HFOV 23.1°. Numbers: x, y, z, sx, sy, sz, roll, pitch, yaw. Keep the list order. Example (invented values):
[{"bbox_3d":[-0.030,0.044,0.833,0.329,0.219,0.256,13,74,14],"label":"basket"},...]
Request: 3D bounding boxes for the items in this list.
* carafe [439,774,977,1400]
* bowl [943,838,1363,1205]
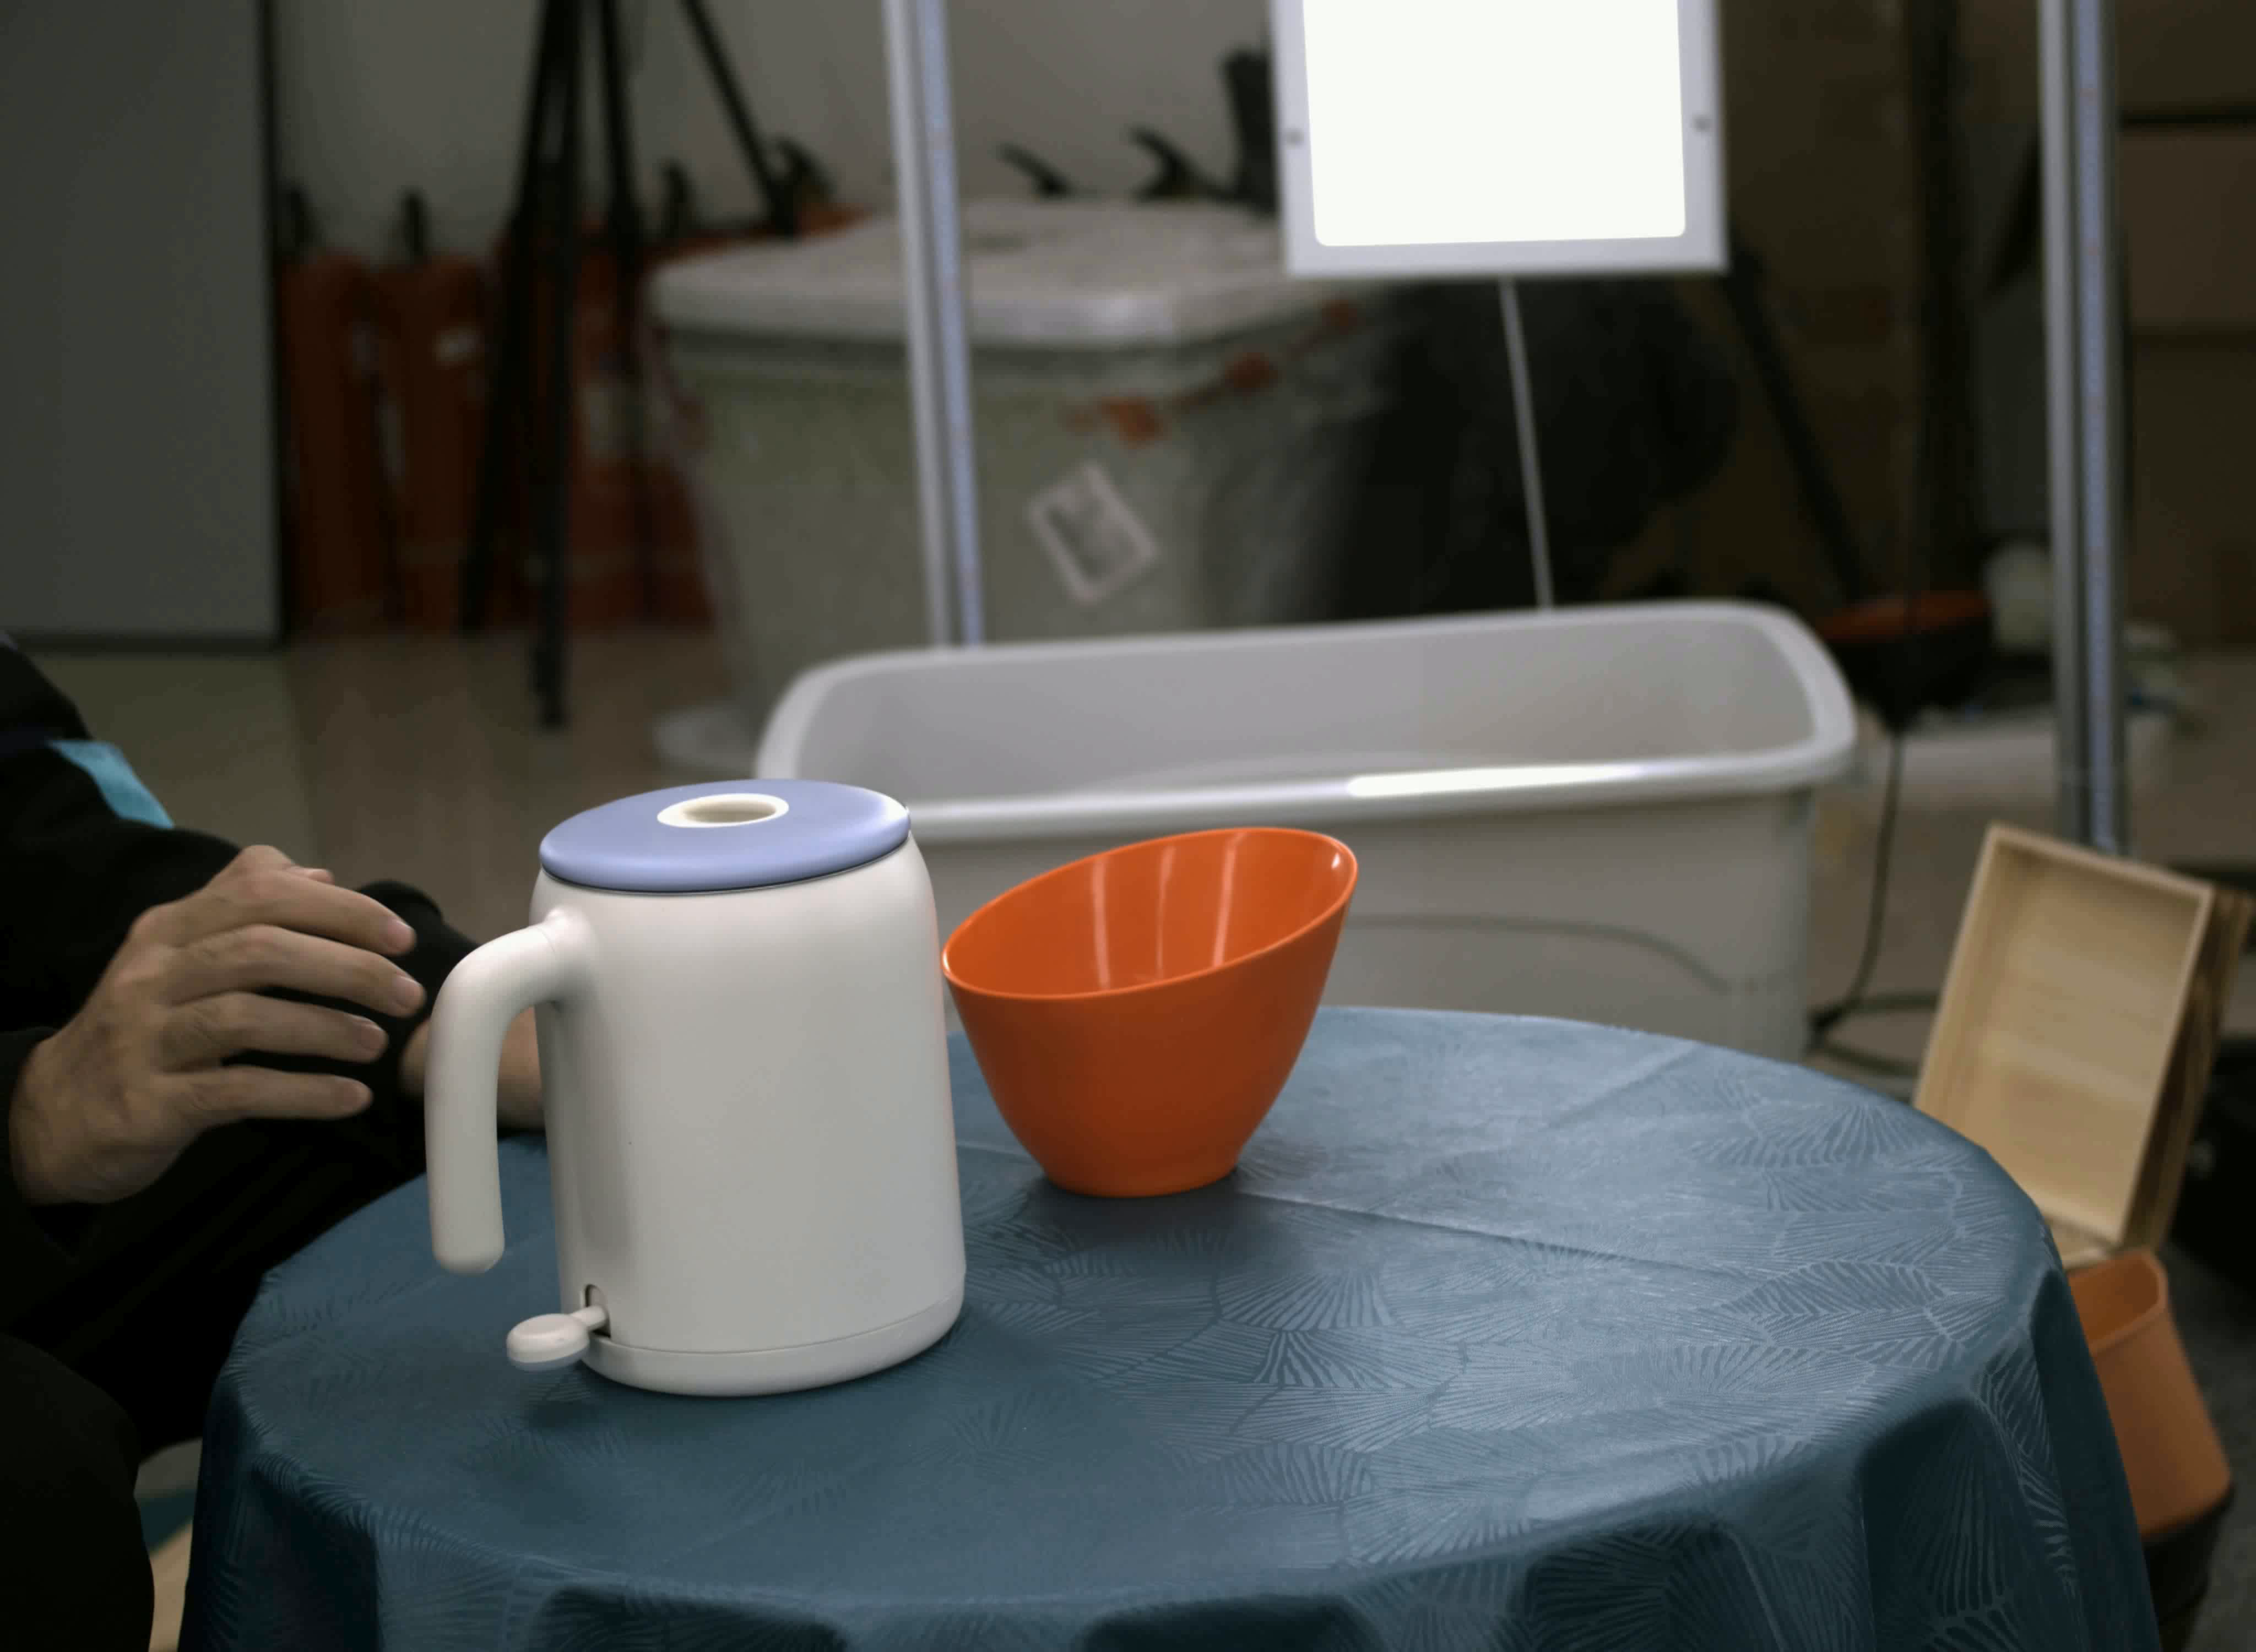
[{"bbox_3d":[-0.139,0.088,1.746,0.186,0.183,0.135,-19,18,-36],"label":"carafe"},{"bbox_3d":[0.012,0.071,1.908,0.147,0.105,0.148,-5,13,0],"label":"bowl"}]
